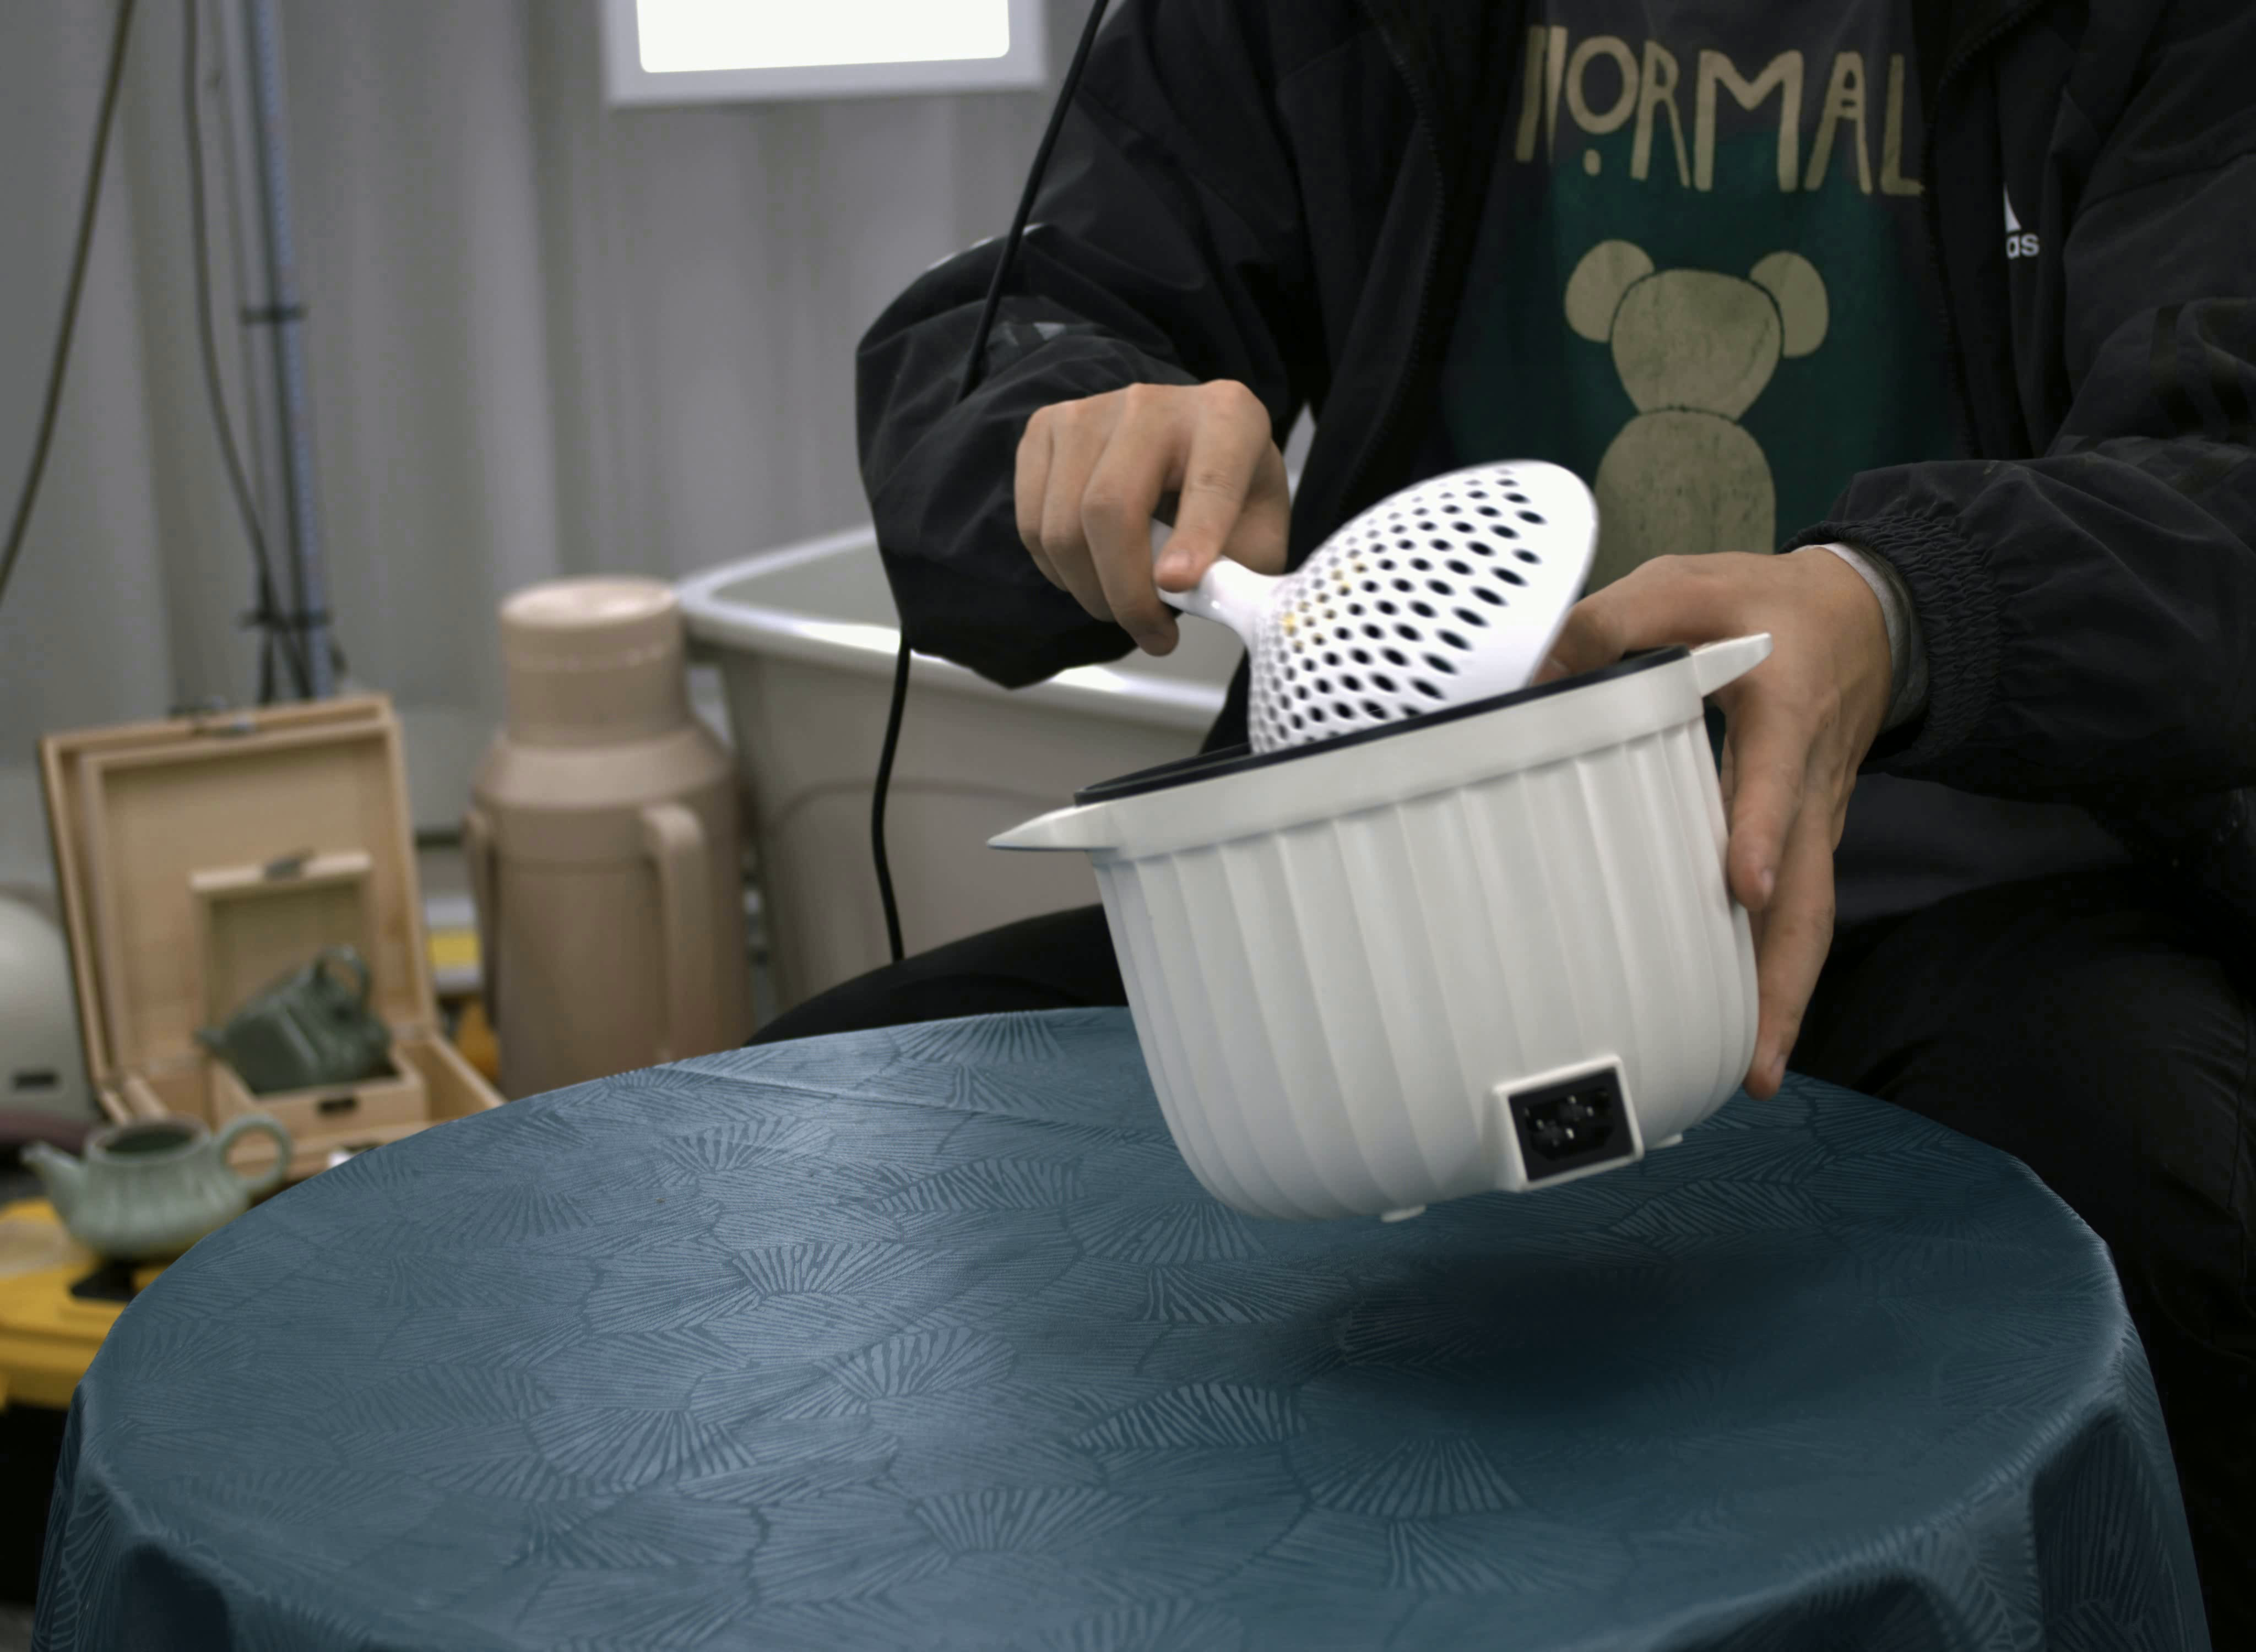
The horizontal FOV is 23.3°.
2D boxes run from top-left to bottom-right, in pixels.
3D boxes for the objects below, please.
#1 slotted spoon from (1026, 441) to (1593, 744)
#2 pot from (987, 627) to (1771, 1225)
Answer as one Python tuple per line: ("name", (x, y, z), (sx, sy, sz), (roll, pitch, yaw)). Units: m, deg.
("slotted spoon", (0.038, -0.075, 1.672), (0.050, 0.137, 0.350), (28, -1, -20))
("pot", (0.085, 0.033, 1.565), (0.239, 0.143, 0.191), (-13, 5, -14))
